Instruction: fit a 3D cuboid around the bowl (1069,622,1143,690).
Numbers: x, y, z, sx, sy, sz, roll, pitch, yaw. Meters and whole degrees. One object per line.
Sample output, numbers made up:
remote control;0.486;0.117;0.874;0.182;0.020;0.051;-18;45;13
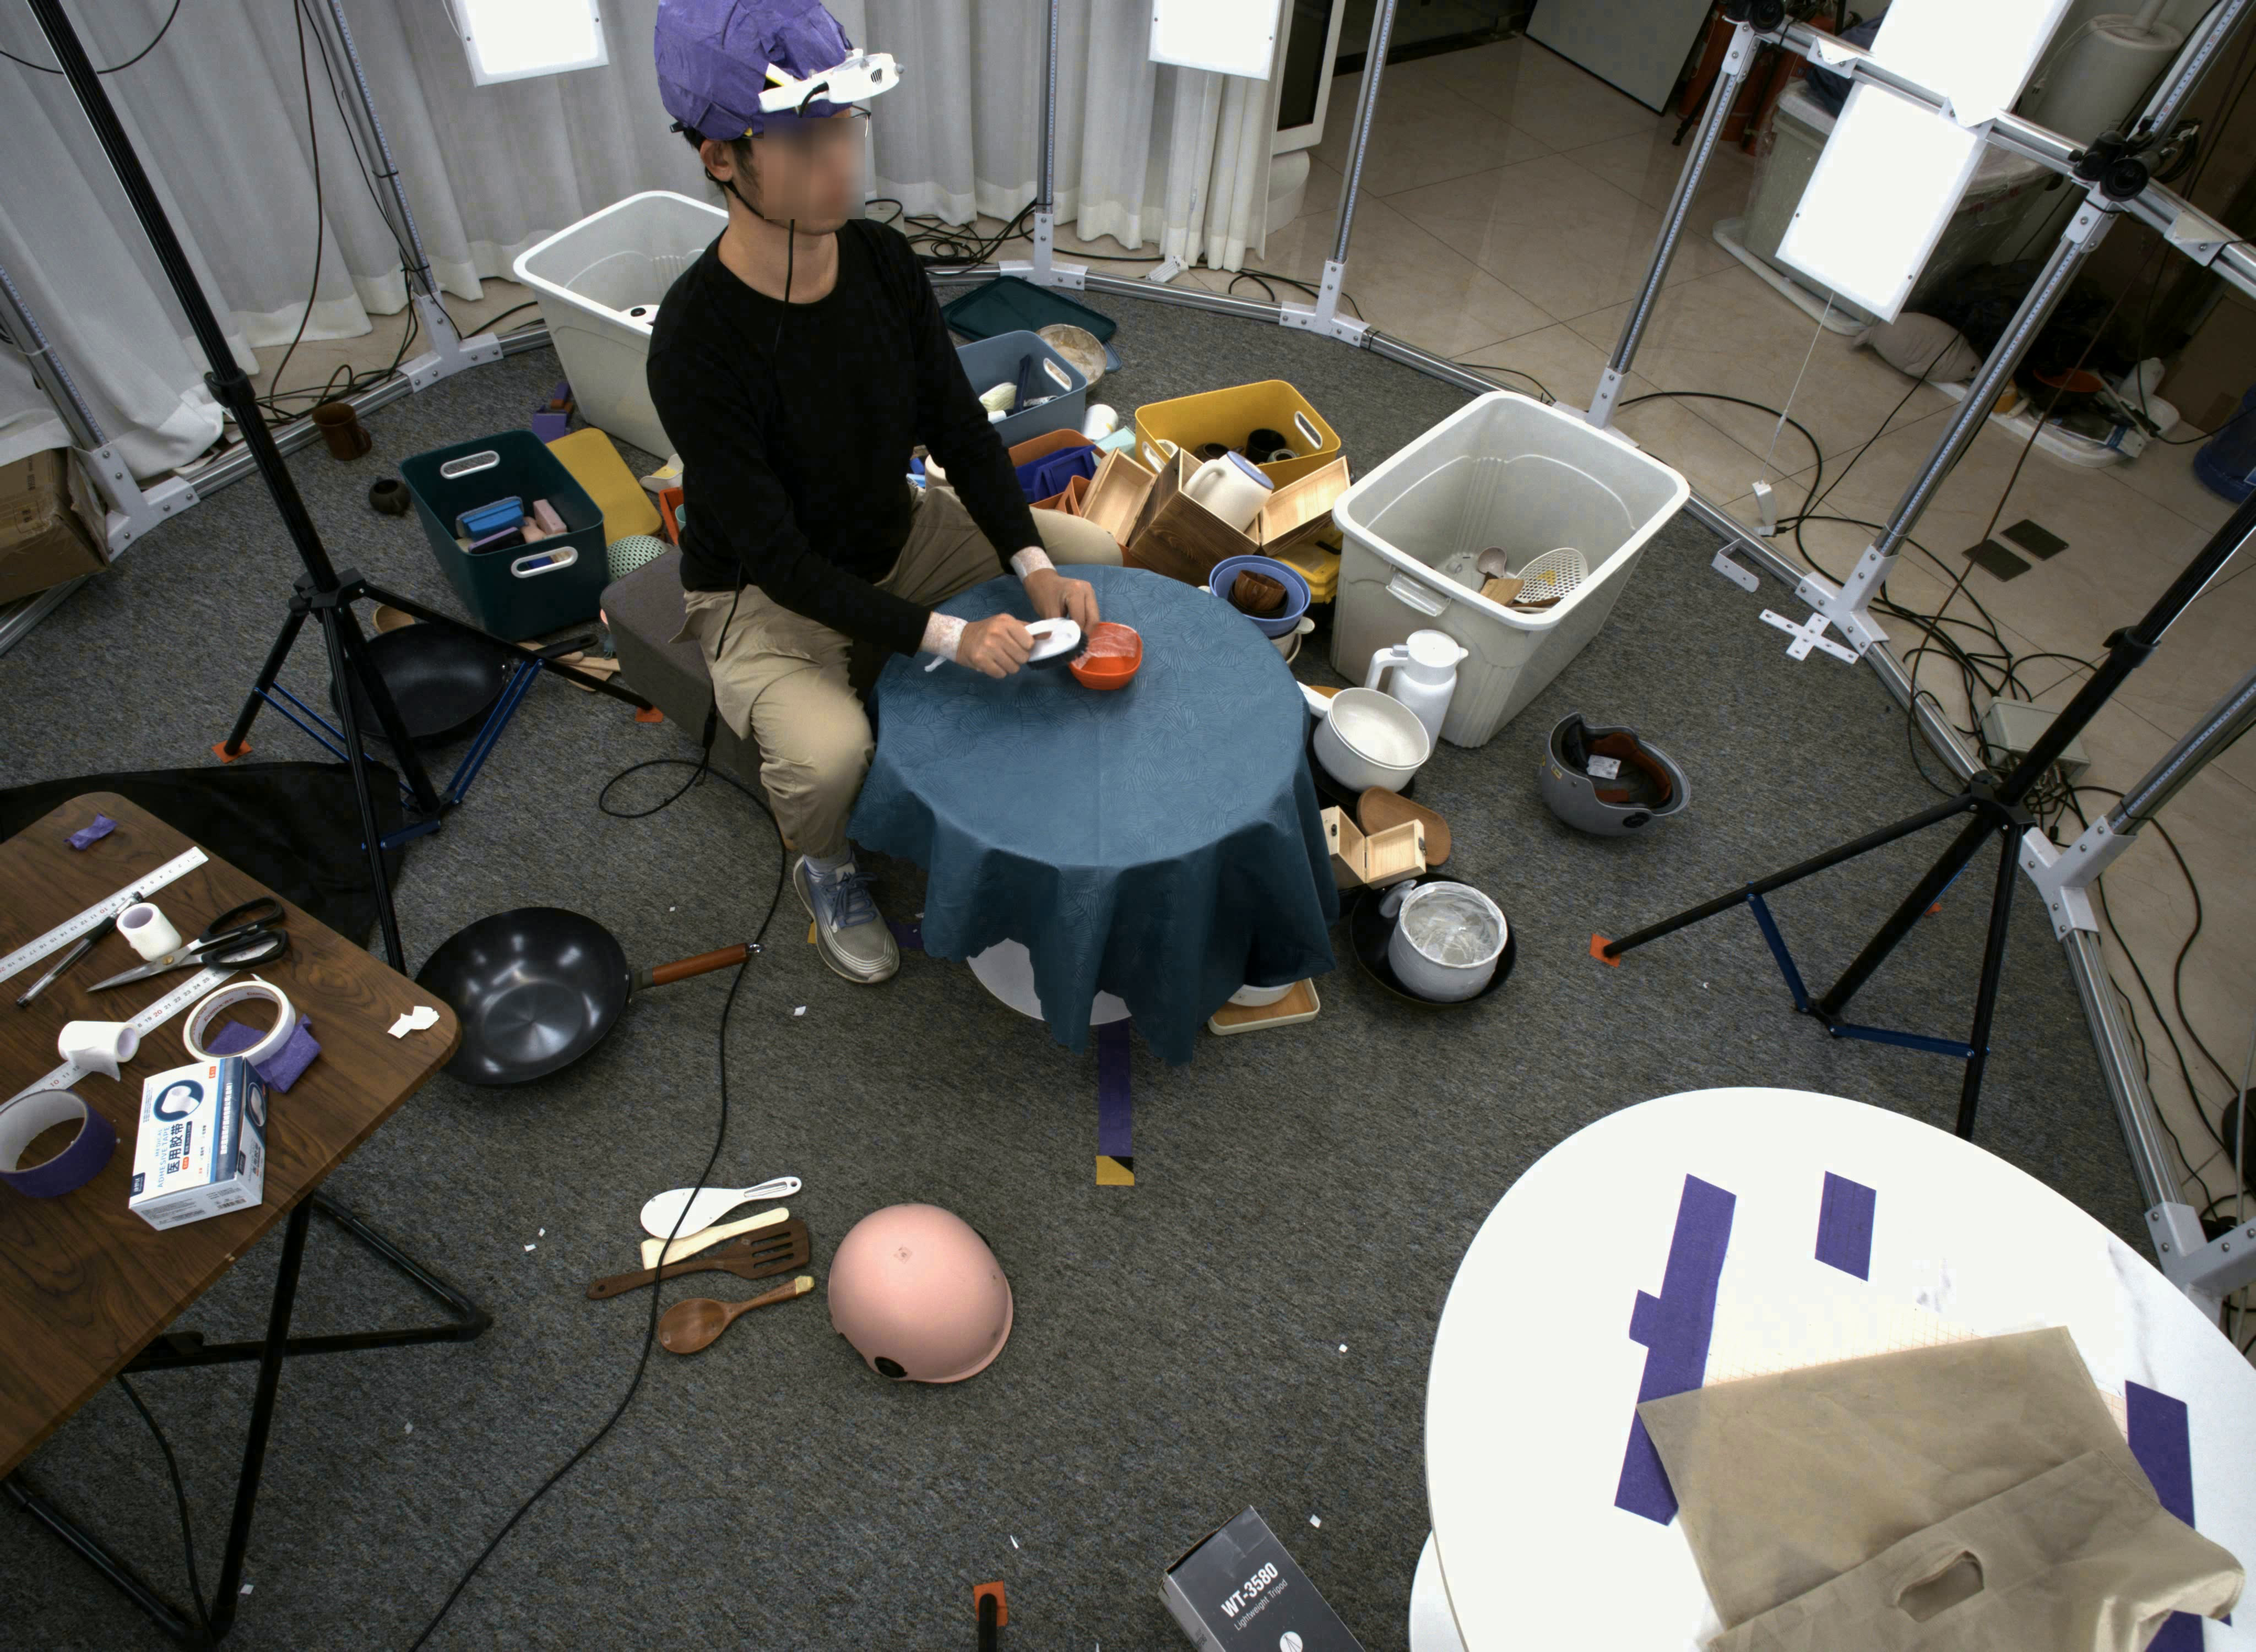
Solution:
bowl;-0.035;-0.237;1.840;0.119;0.050;0.122;3;49;-3

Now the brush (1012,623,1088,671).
brush;-0.114;-0.254;1.772;0.099;0.071;0.051;-9;68;24
